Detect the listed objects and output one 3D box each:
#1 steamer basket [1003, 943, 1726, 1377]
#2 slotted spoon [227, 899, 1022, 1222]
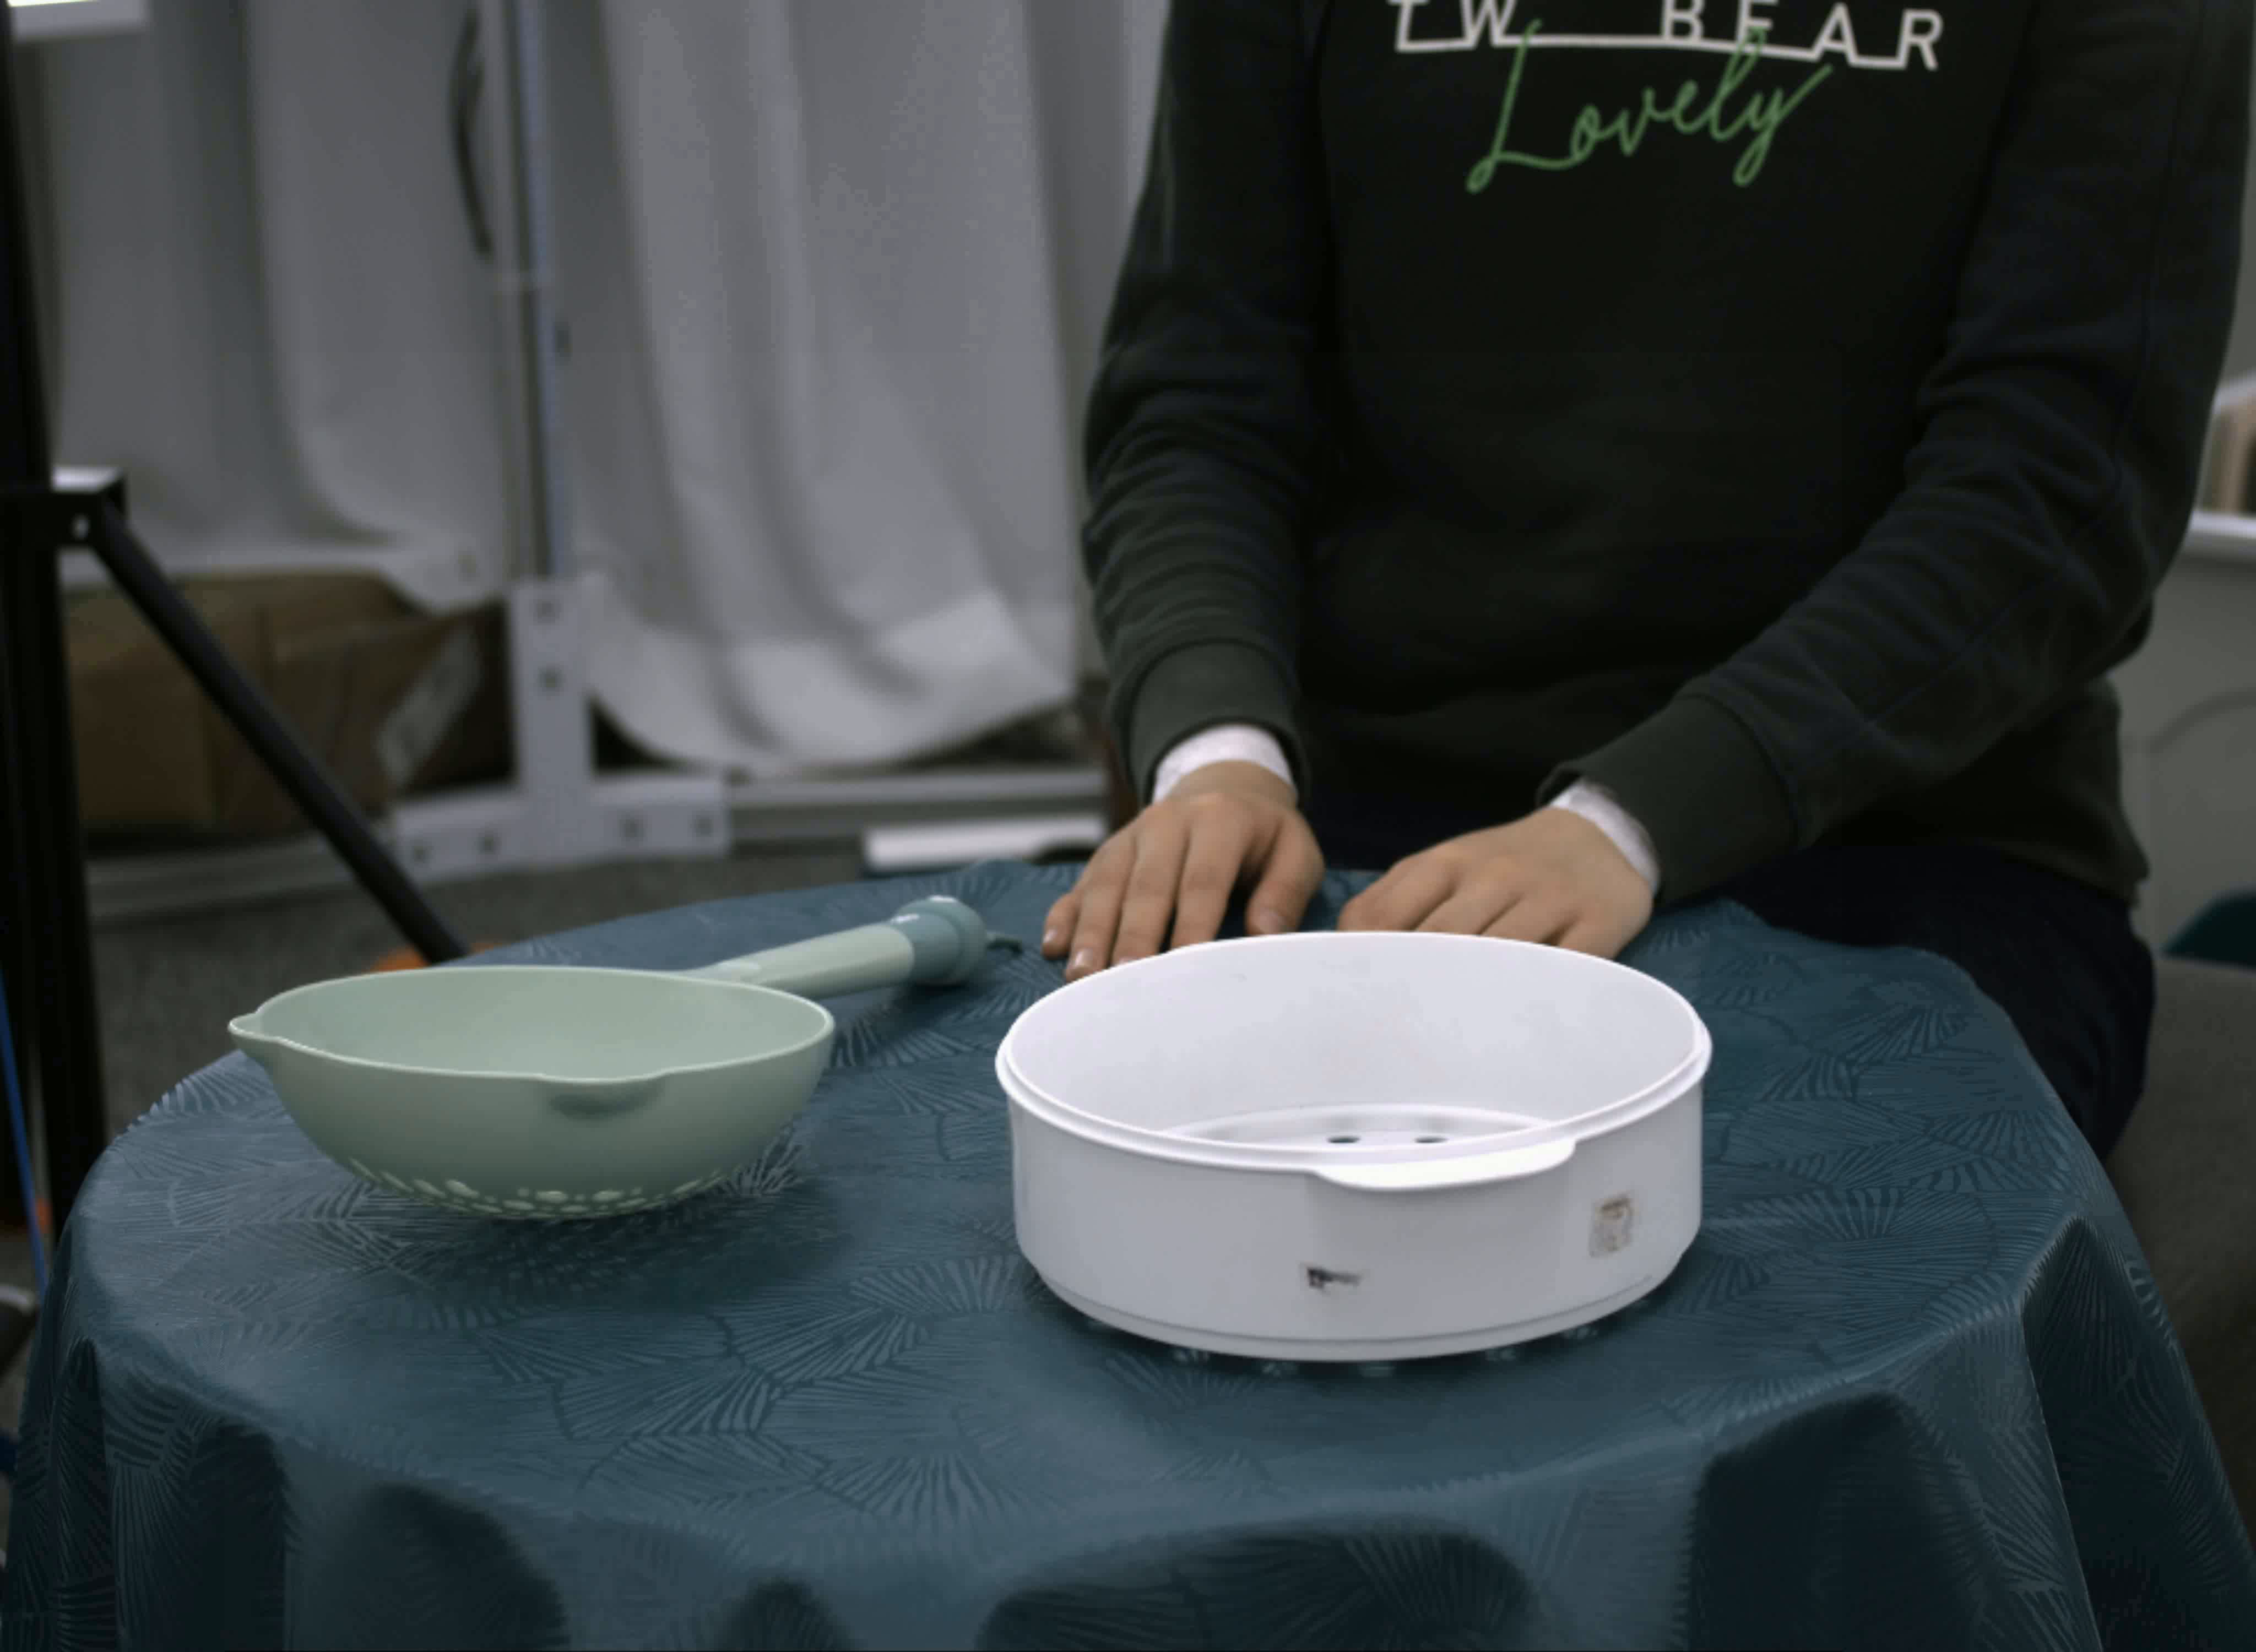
[{"bbox_3d":[0.066,0.093,1.482,0.199,0.069,0.233,-5,16,-12],"label":"steamer basket"},{"bbox_3d":[-0.125,0.056,1.642,0.172,0.075,0.353,6,18,28],"label":"slotted spoon"}]
